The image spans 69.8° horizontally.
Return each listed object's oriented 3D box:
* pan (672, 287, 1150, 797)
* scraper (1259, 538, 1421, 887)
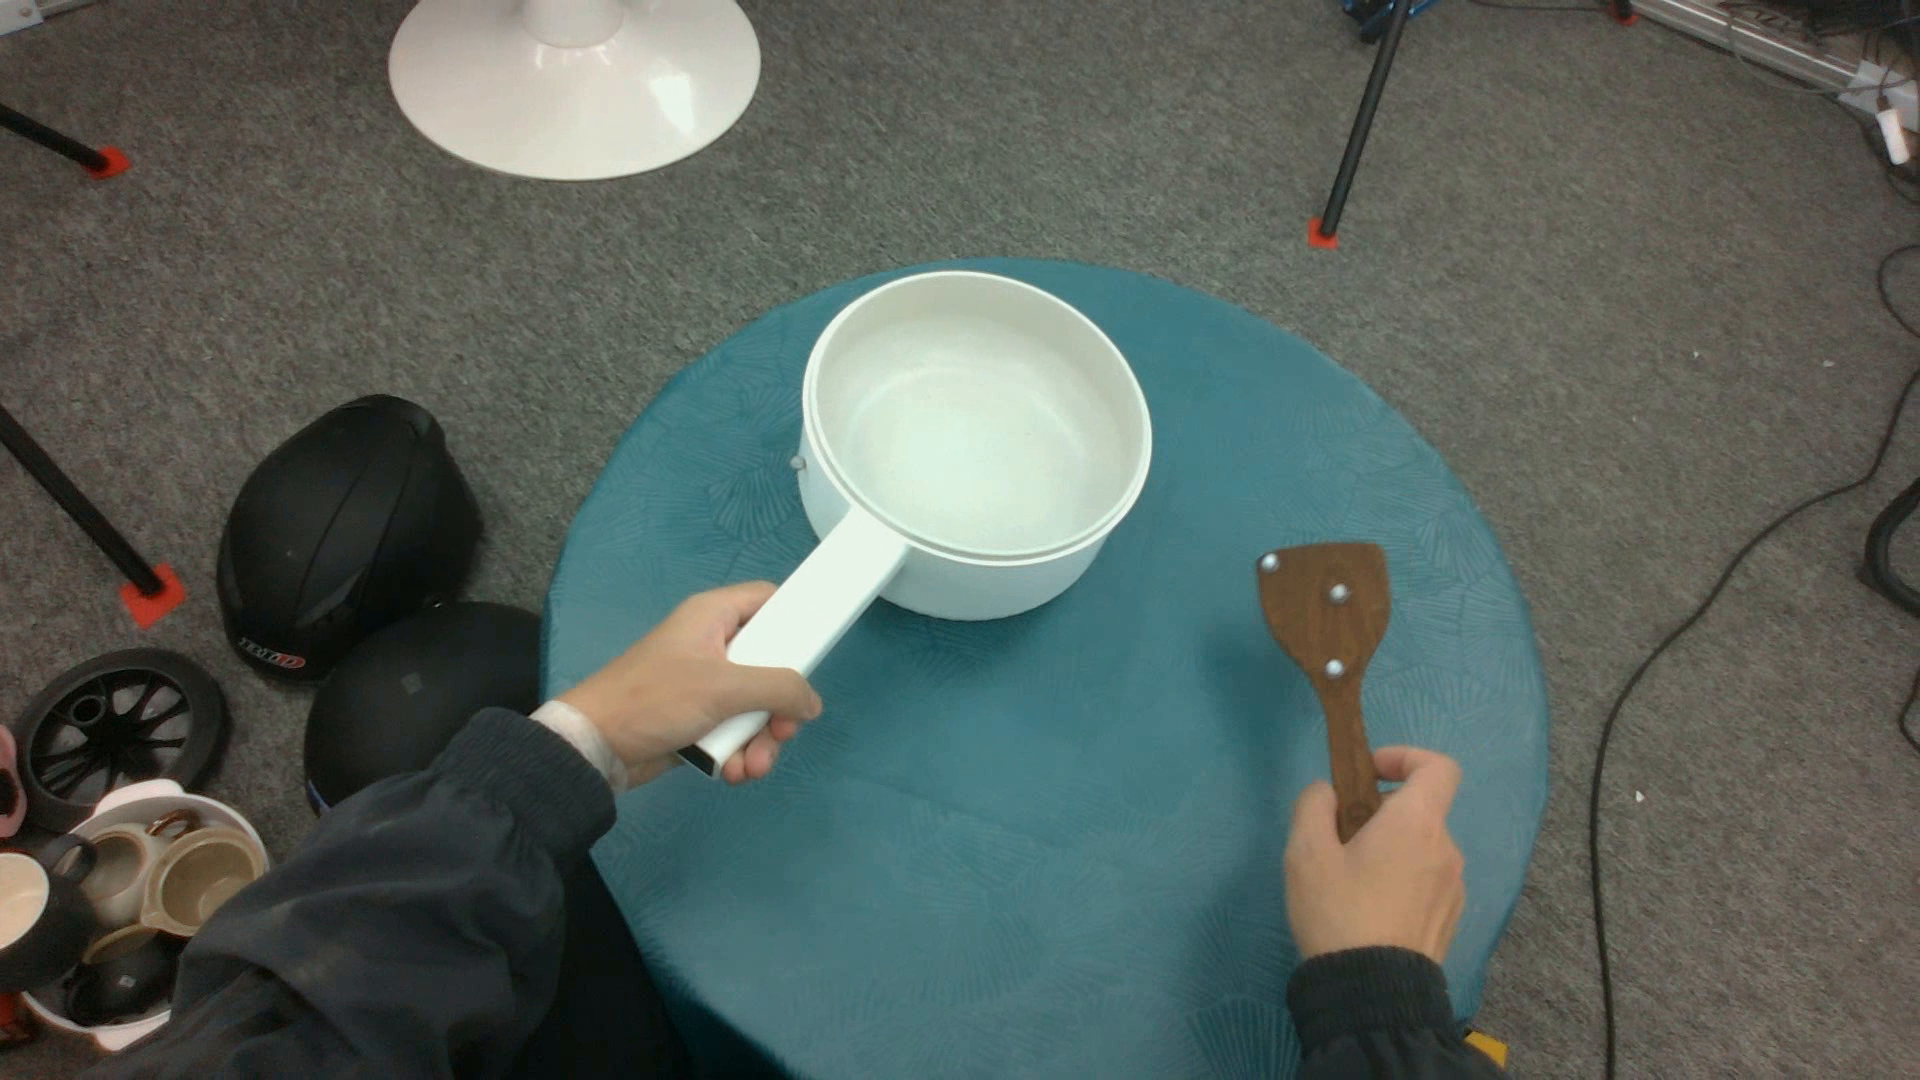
[{"bbox_3d":[-0.035,0.008,0.787,0.201,0.101,0.356,32,59,9],"label":"pan"},{"bbox_3d":[0.215,0.088,0.750,0.076,0.011,0.212,-7,53,8],"label":"scraper"}]
